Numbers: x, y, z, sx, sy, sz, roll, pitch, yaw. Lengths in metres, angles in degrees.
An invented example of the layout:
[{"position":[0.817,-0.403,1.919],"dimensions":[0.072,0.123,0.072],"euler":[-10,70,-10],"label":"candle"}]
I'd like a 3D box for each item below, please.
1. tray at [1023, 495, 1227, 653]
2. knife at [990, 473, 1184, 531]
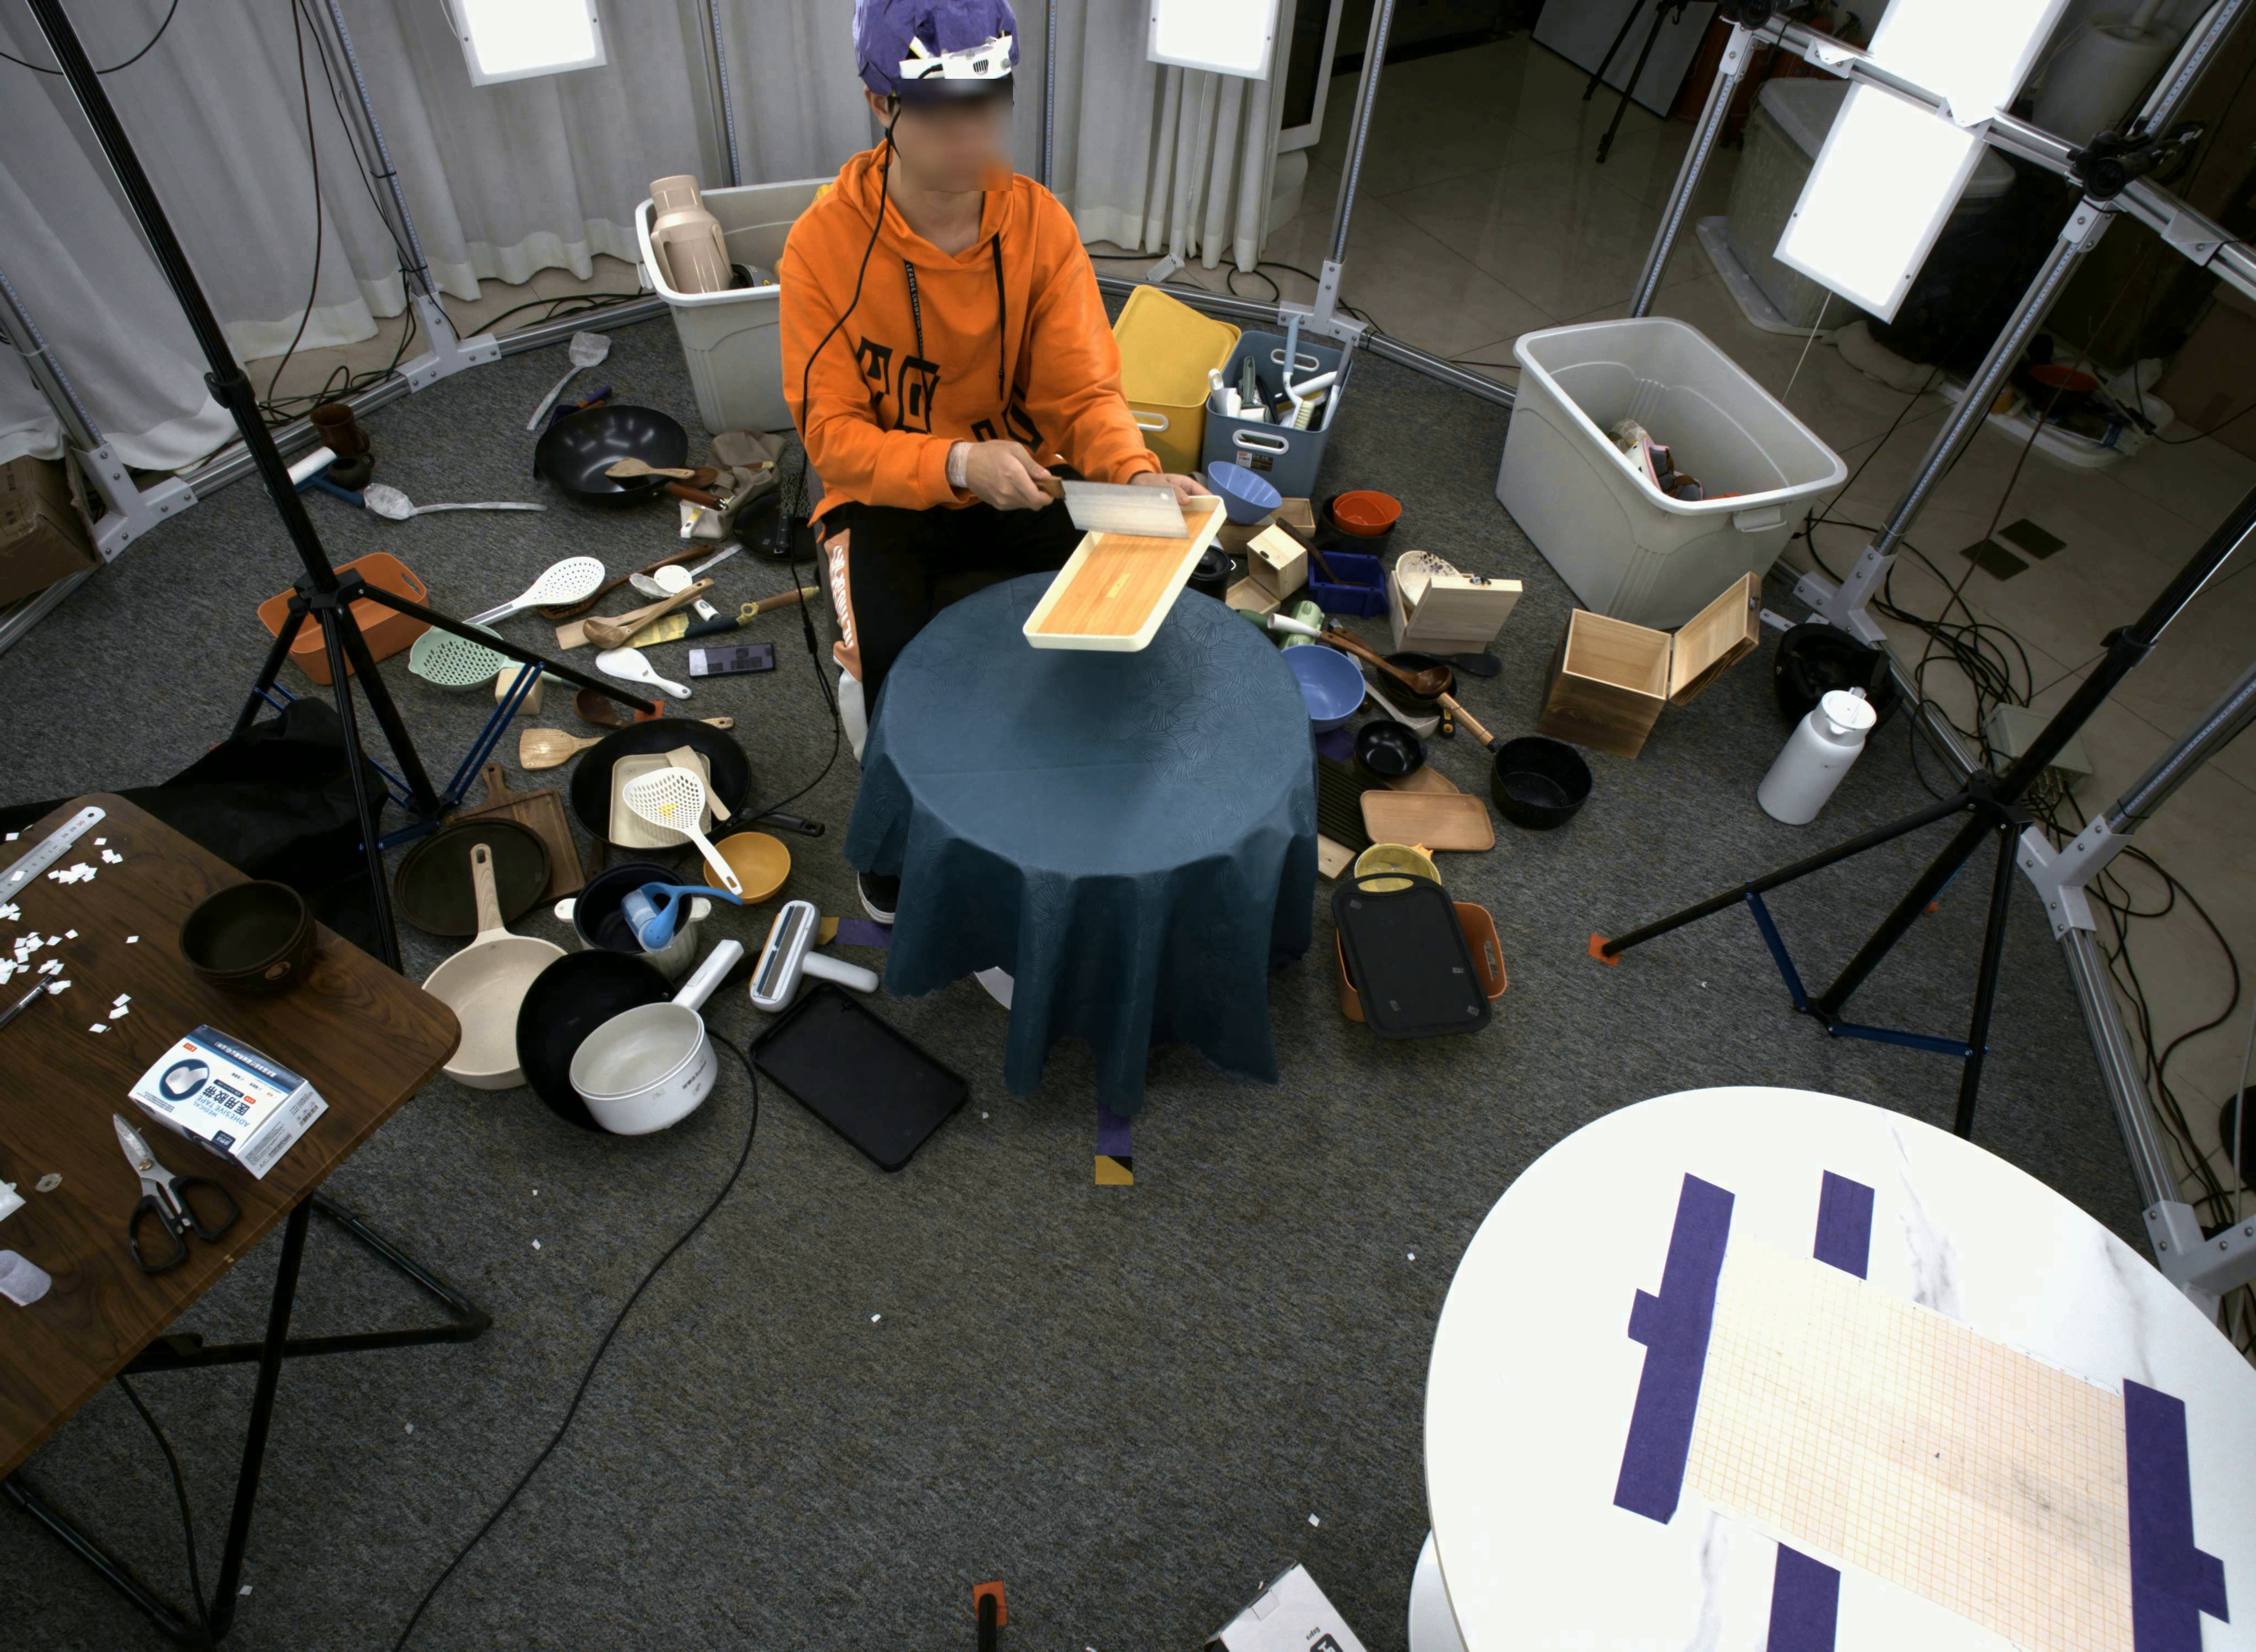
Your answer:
[{"position":[-0.001,-0.348,1.753],"dimensions":[0.193,0.027,0.305],"euler":[7,51,32],"label":"tray"},{"position":[-0.057,-0.448,1.793],"dimensions":[0.308,0.091,0.021],"euler":[13,58,32],"label":"knife"}]
